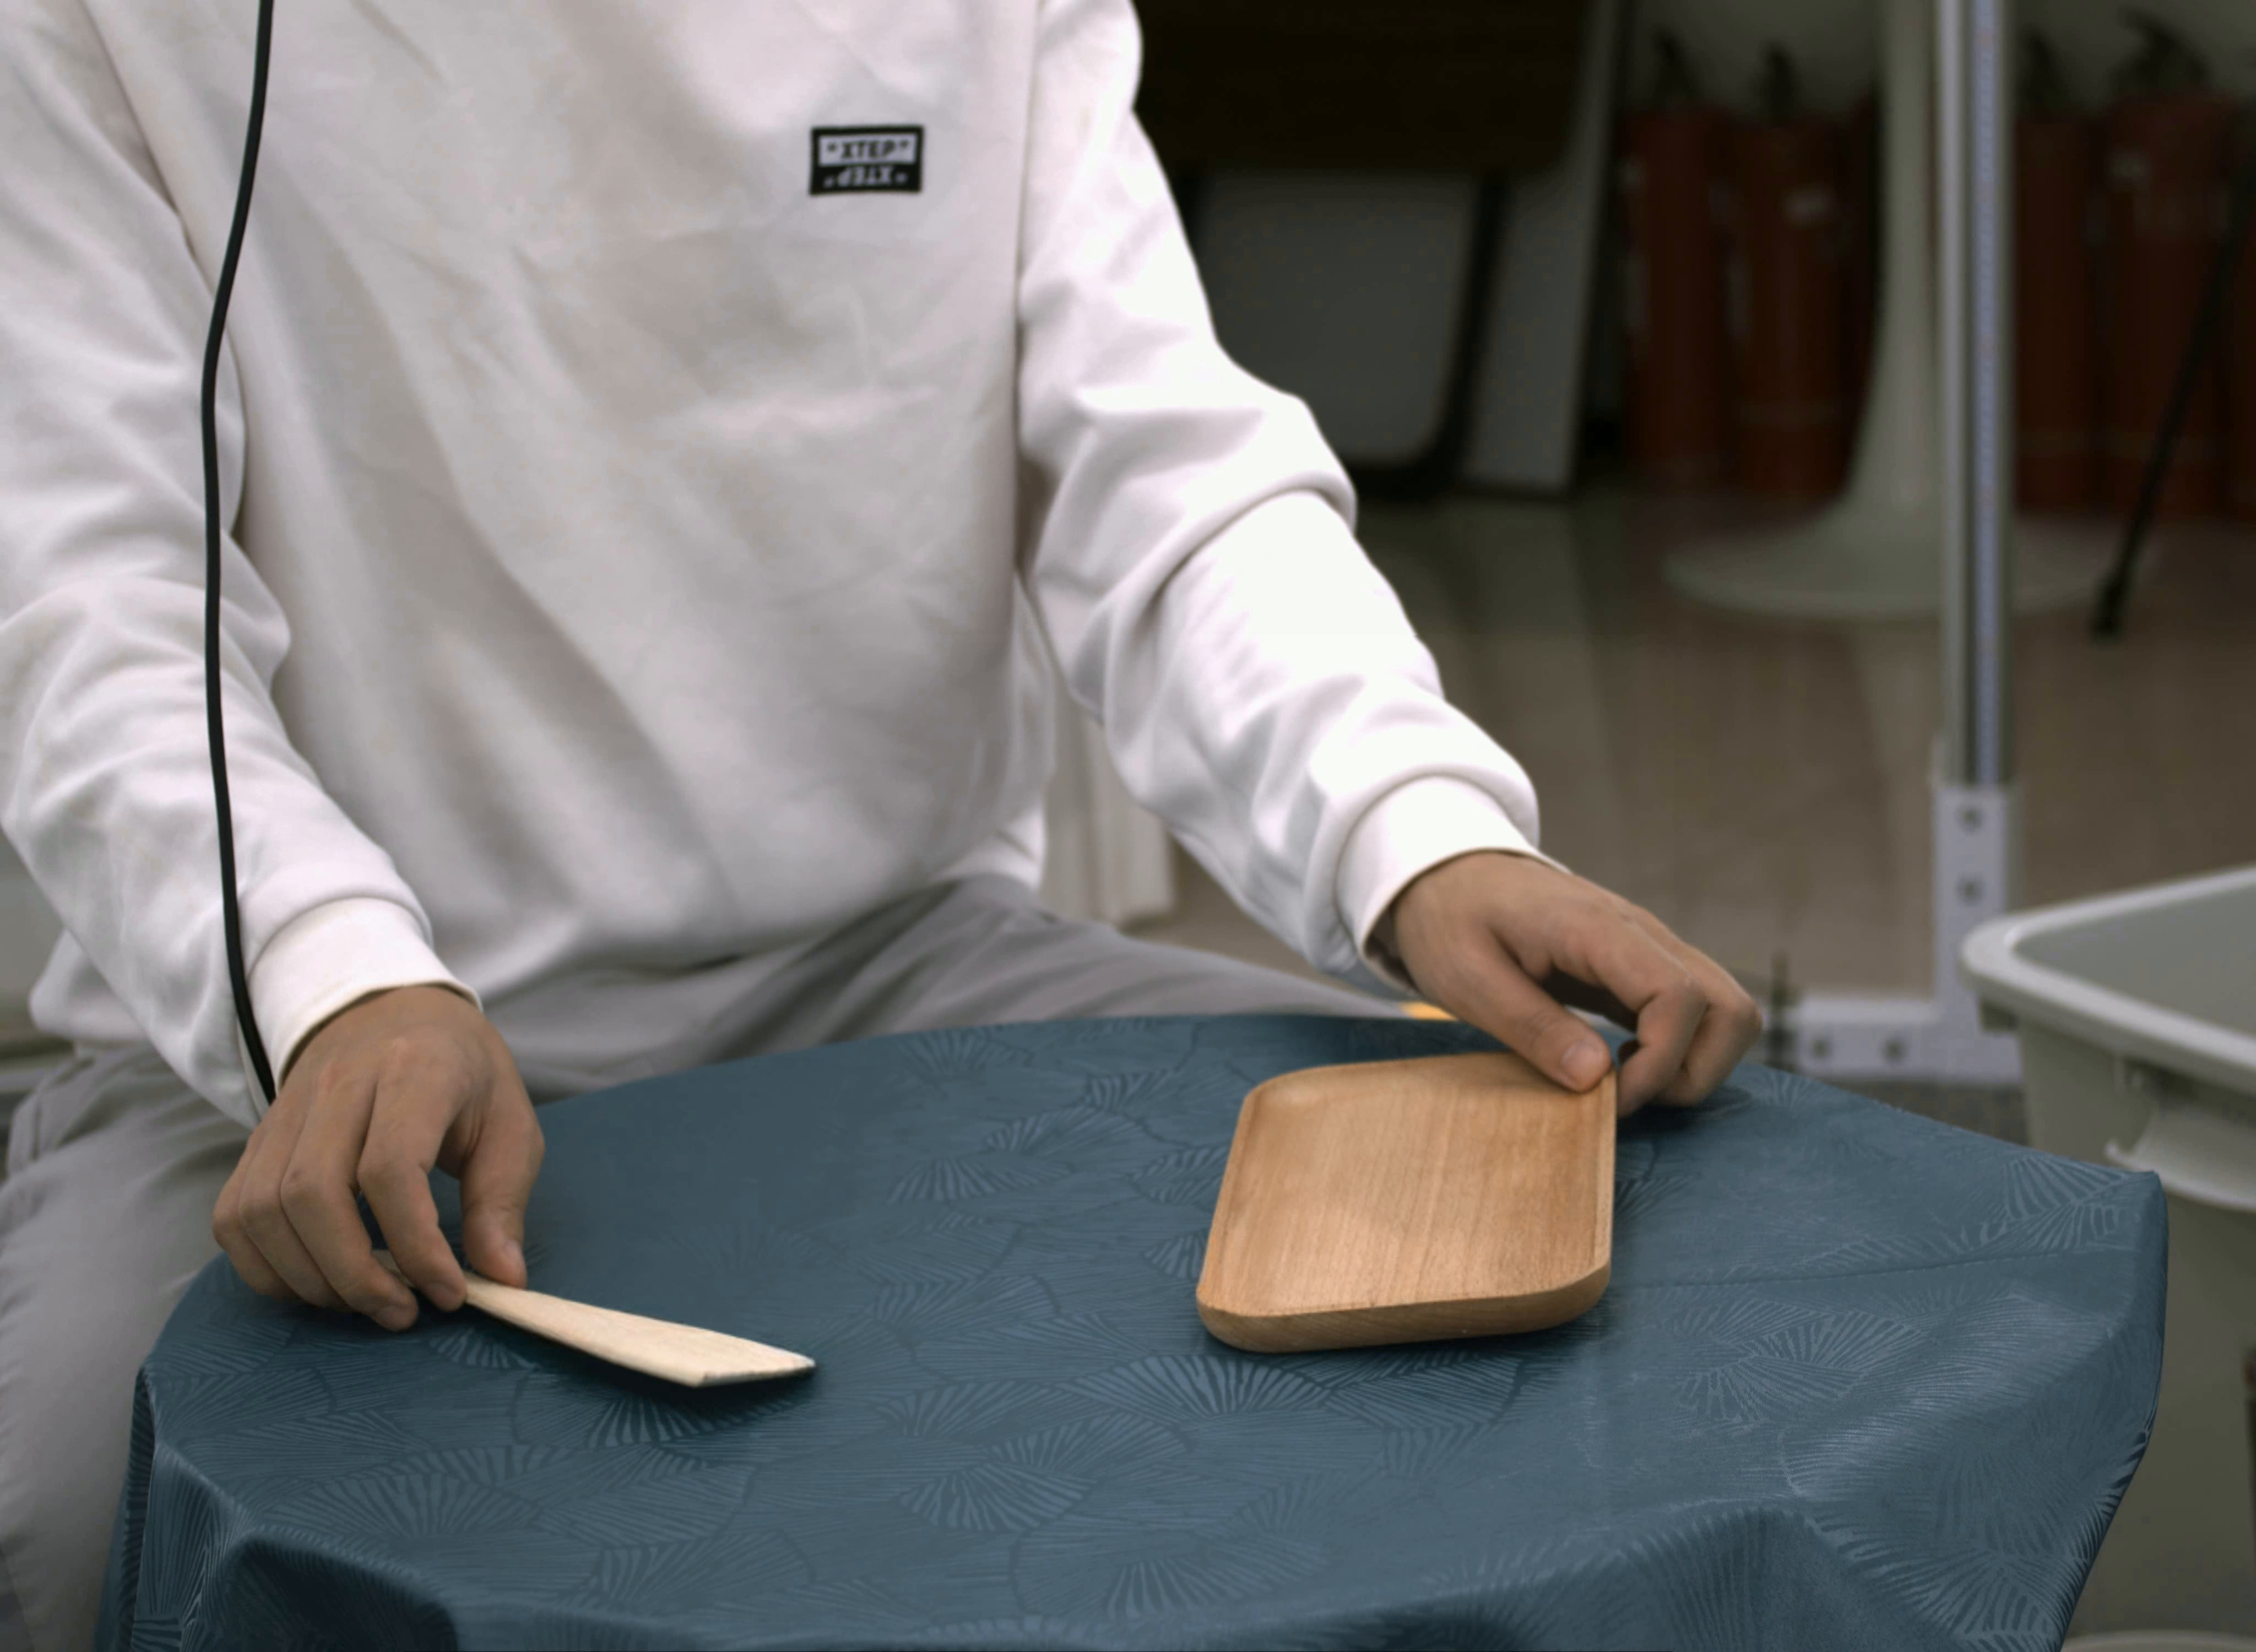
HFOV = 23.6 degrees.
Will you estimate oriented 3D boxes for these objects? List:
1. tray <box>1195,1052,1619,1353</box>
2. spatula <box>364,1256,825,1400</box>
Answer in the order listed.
[{"bbox_3d":[0.092,0.117,1.714,0.129,0.023,0.250,-3,13,7],"label":"tray"},{"bbox_3d":[-0.172,0.153,1.663,0.049,0.005,0.210,-1,8,-40],"label":"spatula"}]
